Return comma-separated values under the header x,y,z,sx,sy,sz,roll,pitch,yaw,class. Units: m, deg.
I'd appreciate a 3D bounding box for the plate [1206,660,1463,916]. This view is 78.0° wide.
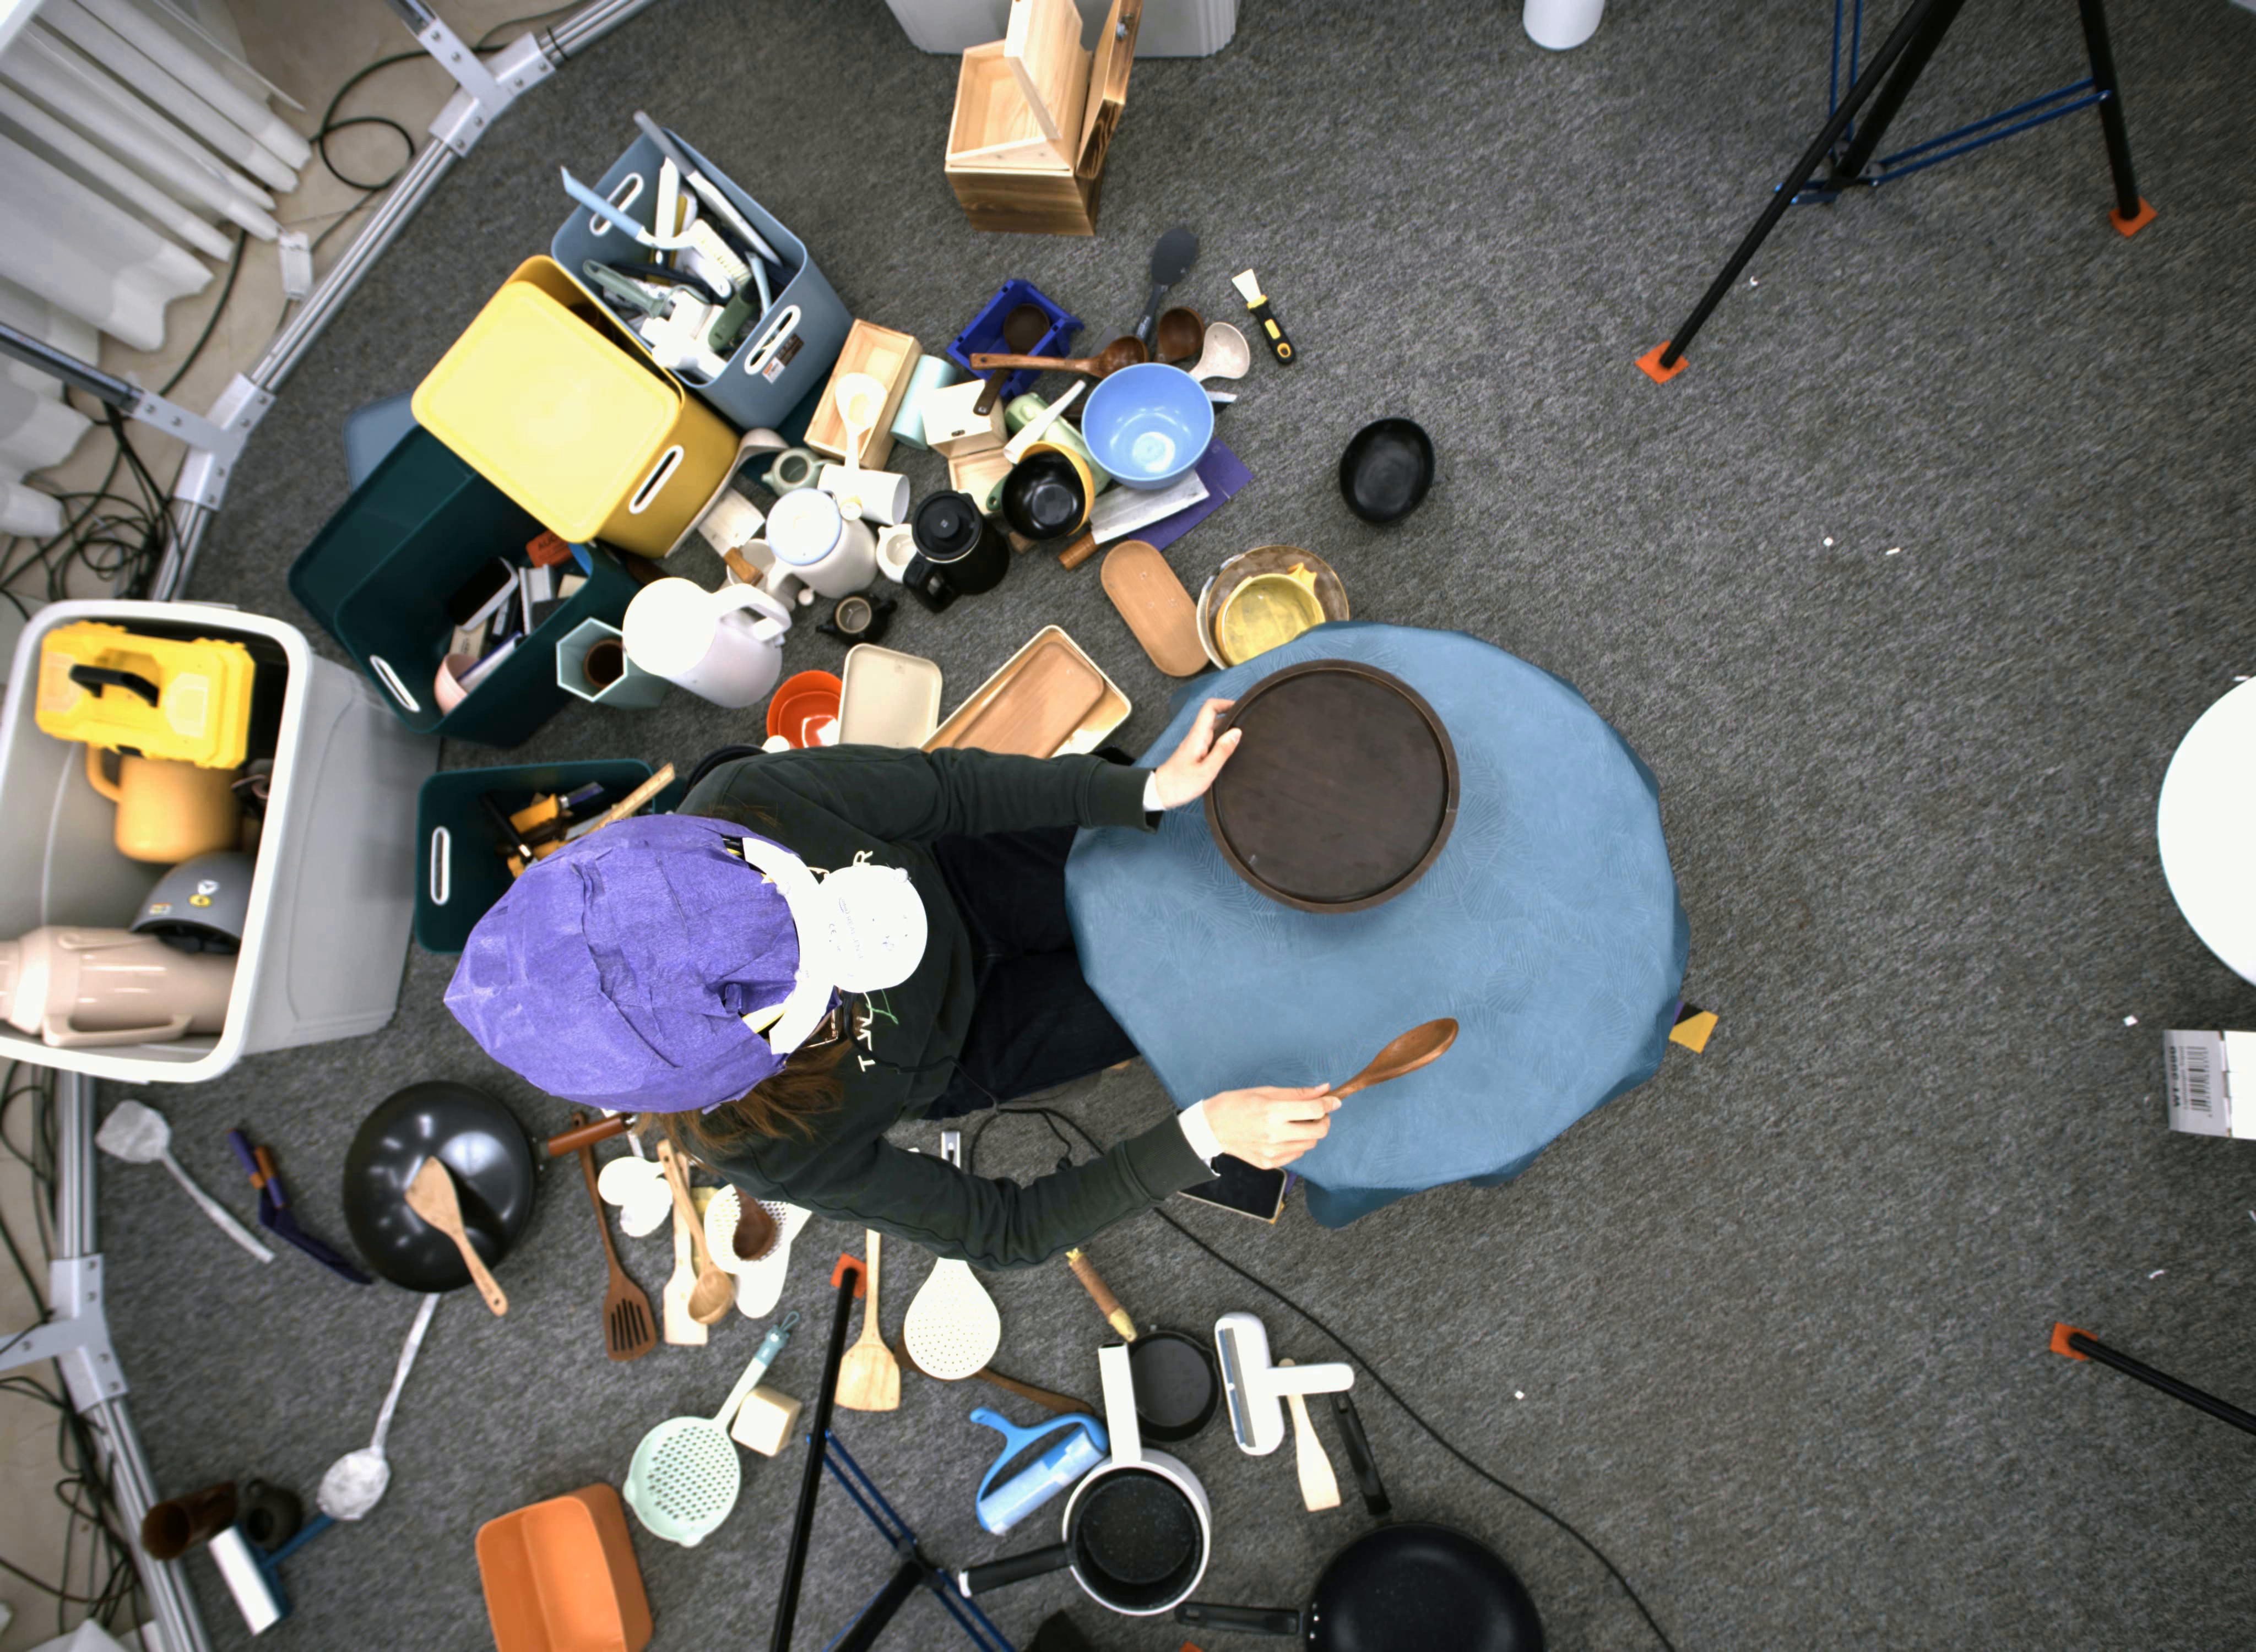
x,y,z,sx,sy,sz,roll,pitch,yaw,class
0.203,-0.038,1.371,0.255,0.029,0.255,1,95,9,plate

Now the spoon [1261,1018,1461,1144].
x,y,z,sx,sy,sz,roll,pitch,yaw,class
0.221,0.242,1.310,0.216,0.074,0.017,-30,103,3,spoon
